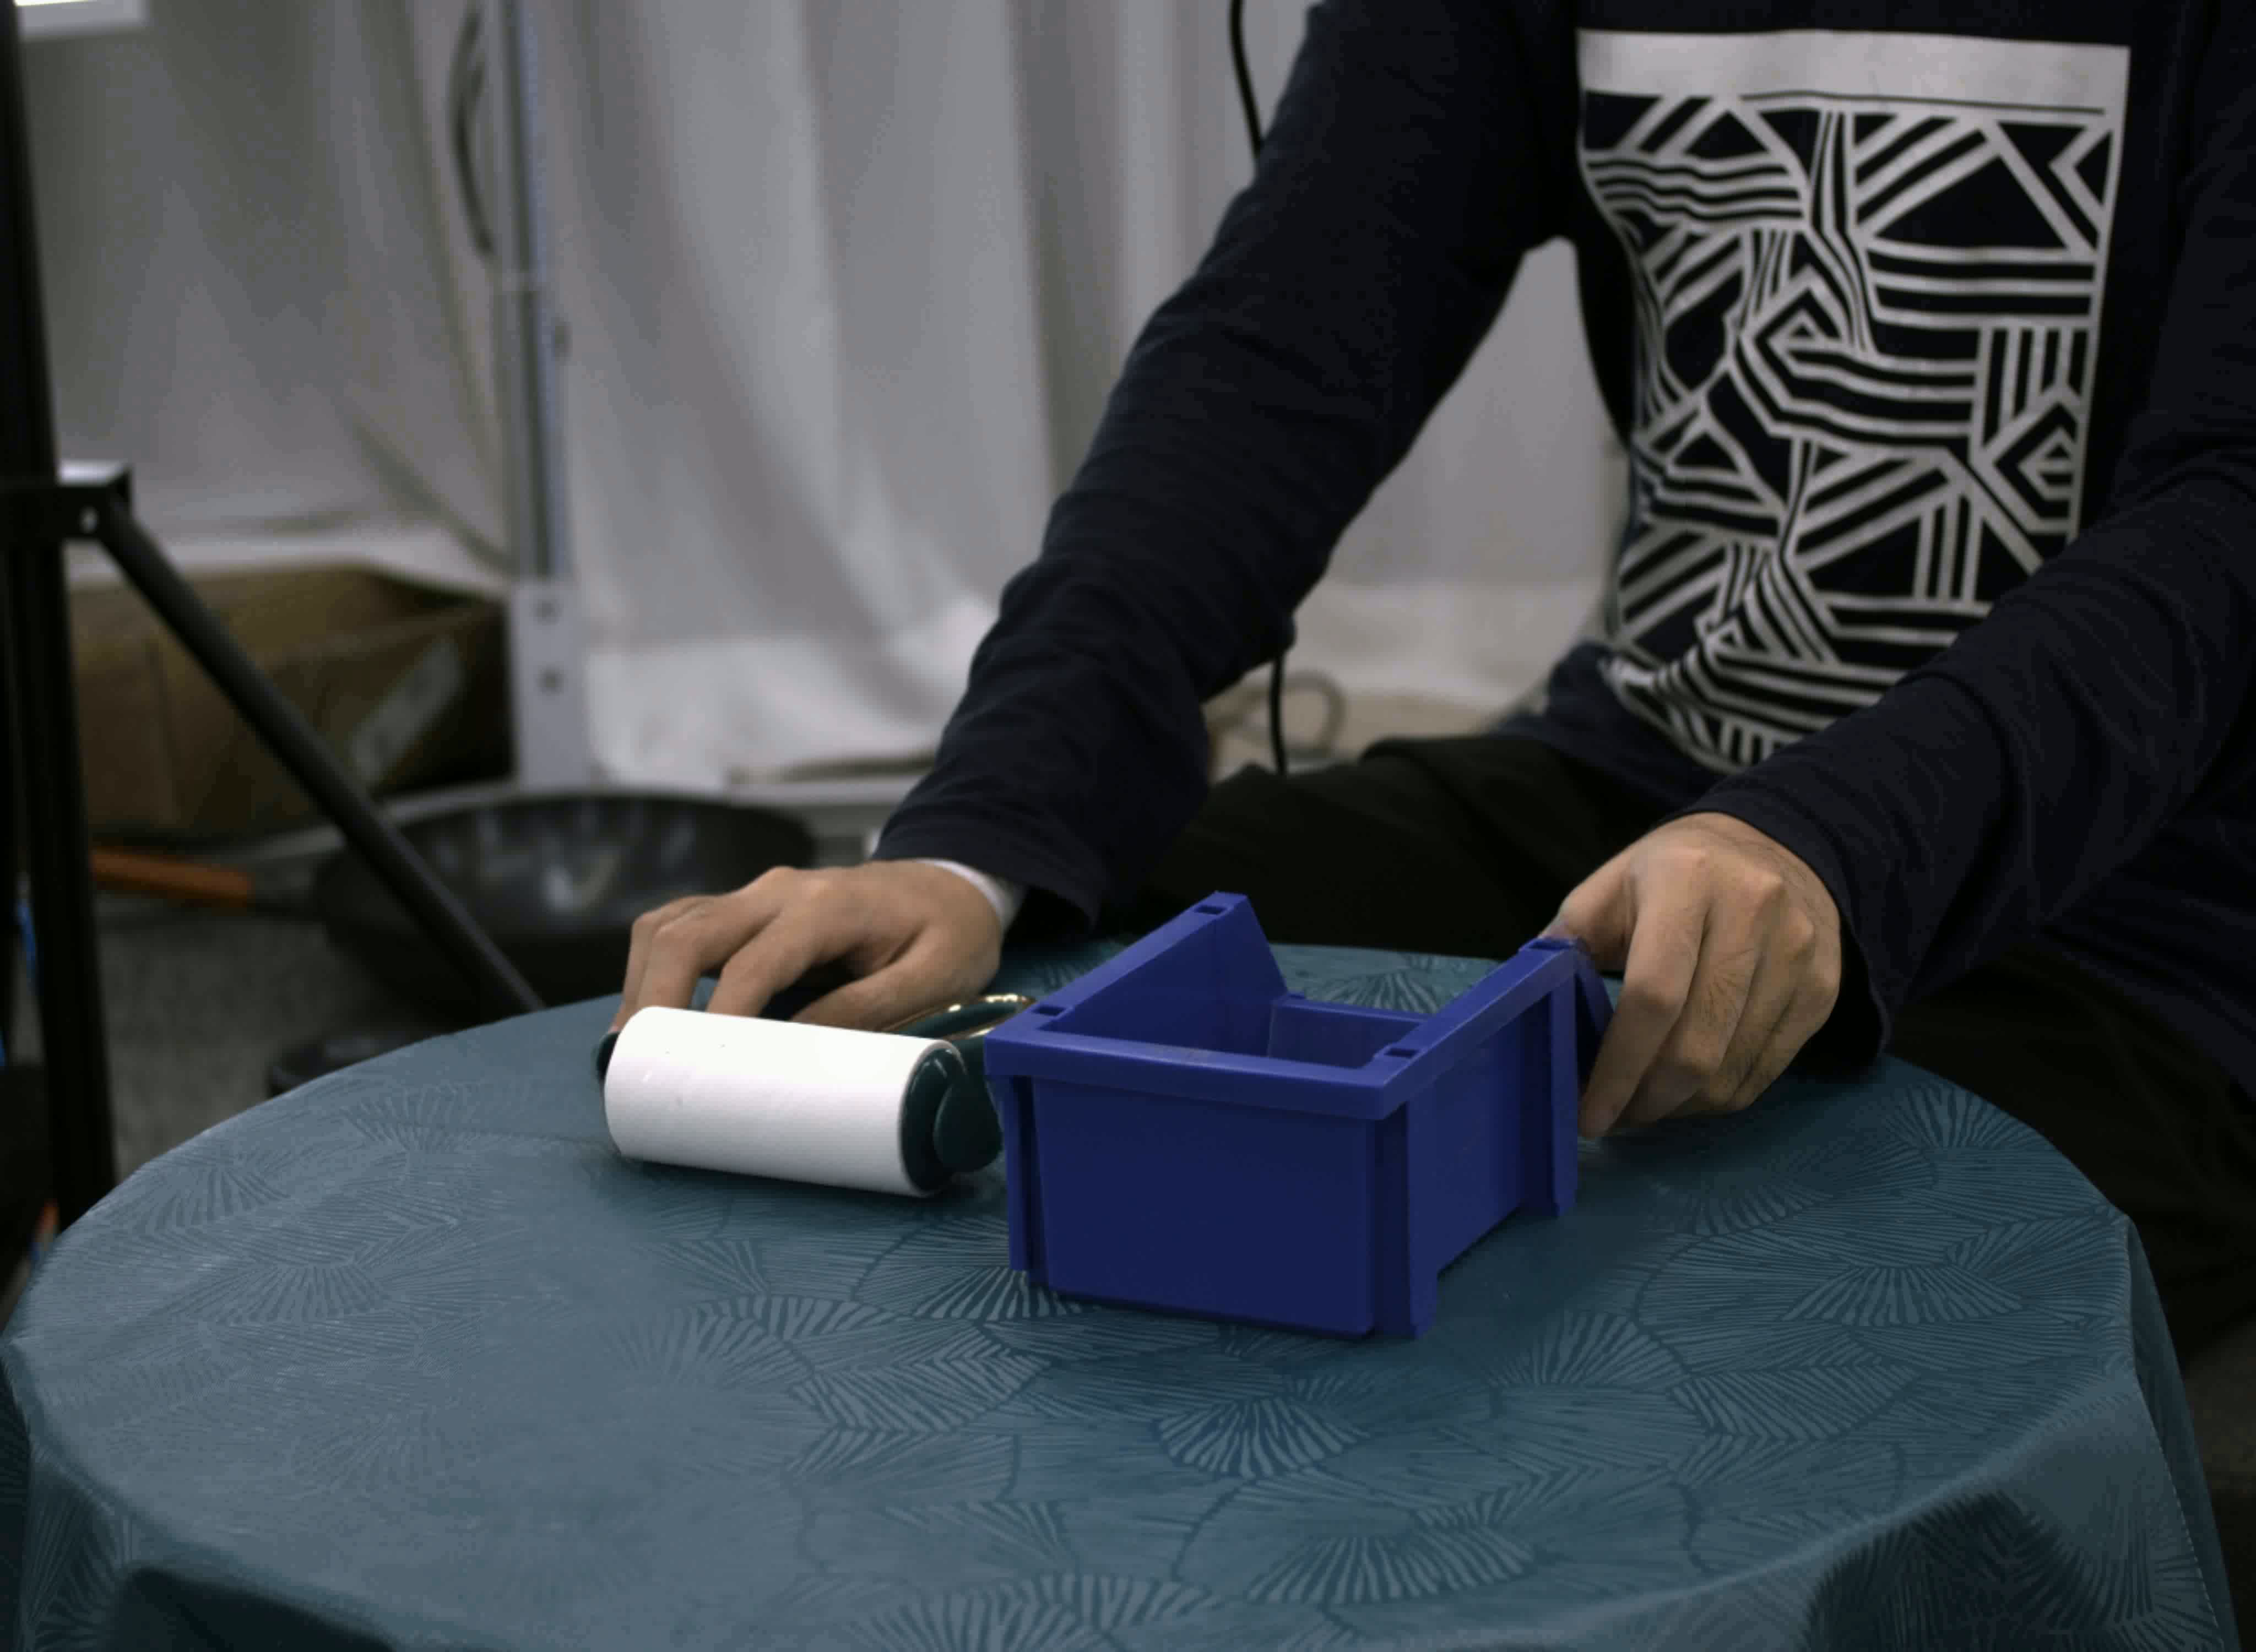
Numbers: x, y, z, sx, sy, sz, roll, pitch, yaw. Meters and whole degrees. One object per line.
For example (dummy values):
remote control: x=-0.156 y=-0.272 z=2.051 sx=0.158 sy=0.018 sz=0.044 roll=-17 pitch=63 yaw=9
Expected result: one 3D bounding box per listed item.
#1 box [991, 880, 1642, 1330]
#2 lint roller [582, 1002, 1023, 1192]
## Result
box: x=0.056 y=0.075 z=1.521 sx=0.126 sy=0.082 sz=0.176 roll=5 pitch=20 yaw=29
lint roller: x=-0.073 y=0.069 z=1.643 sx=0.136 sy=0.048 sz=0.177 roll=5 pitch=13 yaw=26
